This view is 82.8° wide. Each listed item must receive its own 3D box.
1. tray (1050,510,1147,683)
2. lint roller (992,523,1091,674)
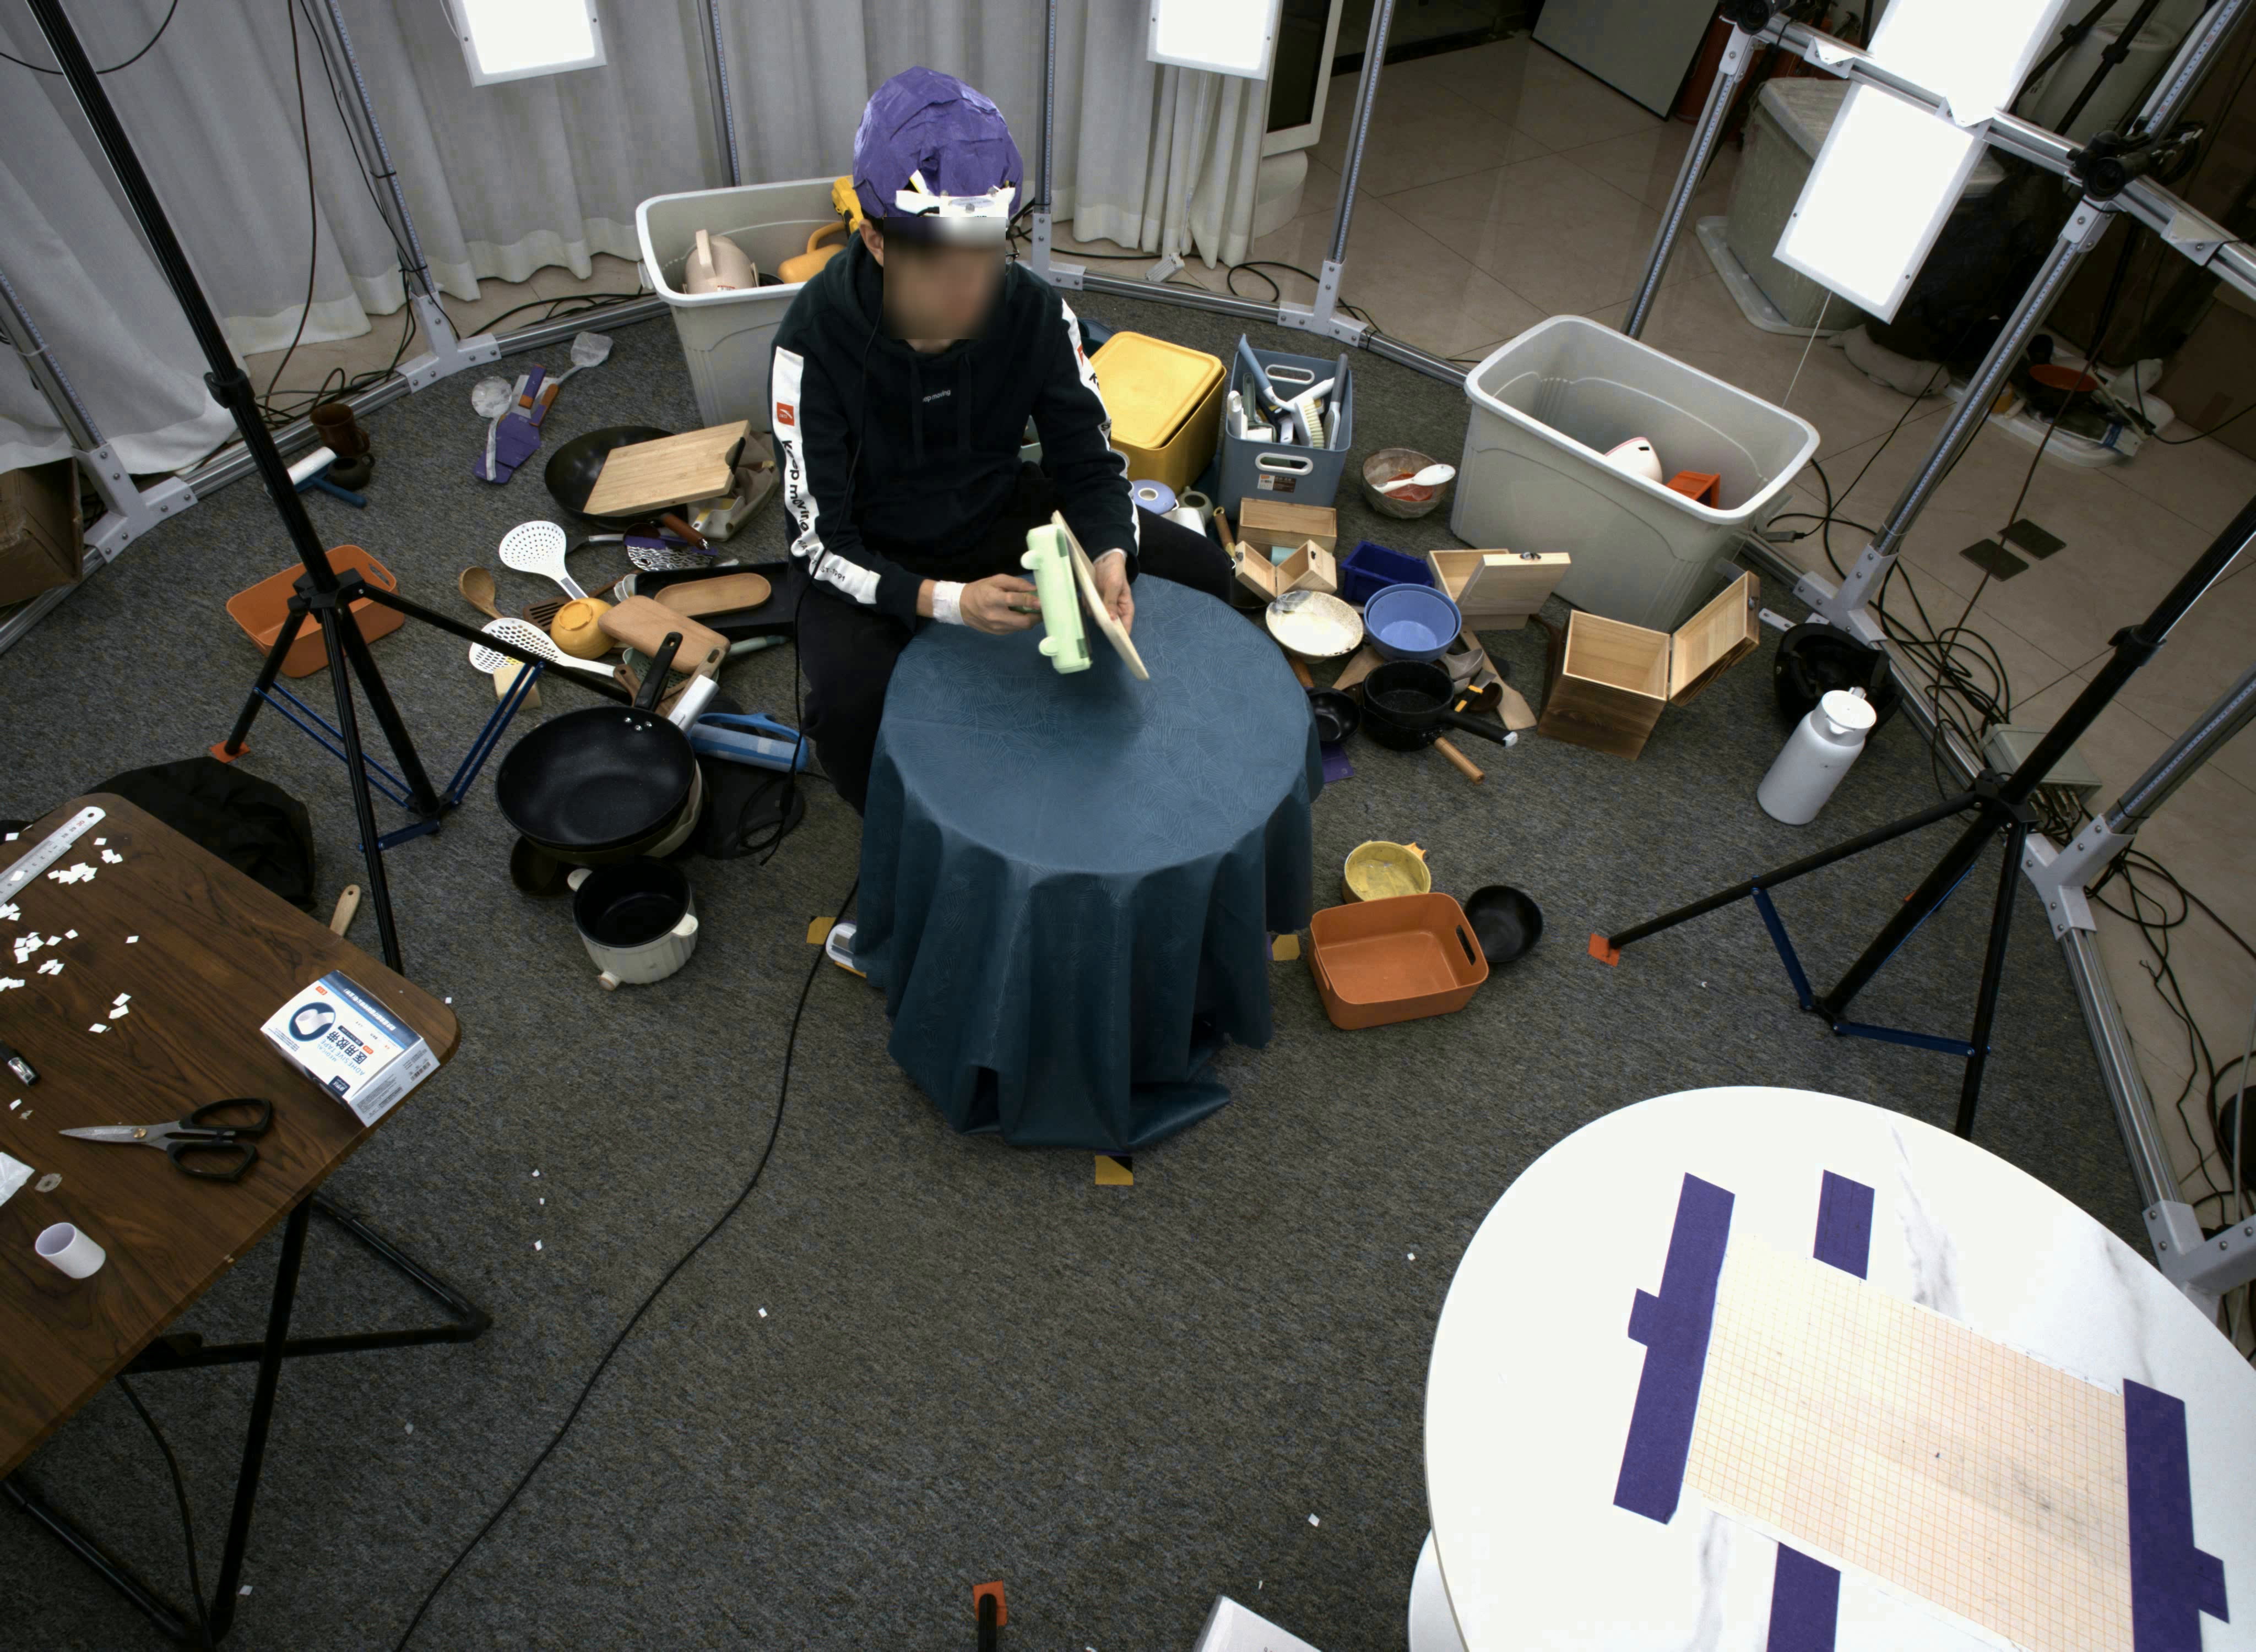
[{"bbox_3d":[-0.043,-0.316,1.784,0.017,0.168,0.245,-28,57,7],"label":"tray"},{"bbox_3d":[-0.139,-0.301,1.752,0.184,0.197,0.082,-1,15,41],"label":"lint roller"}]
